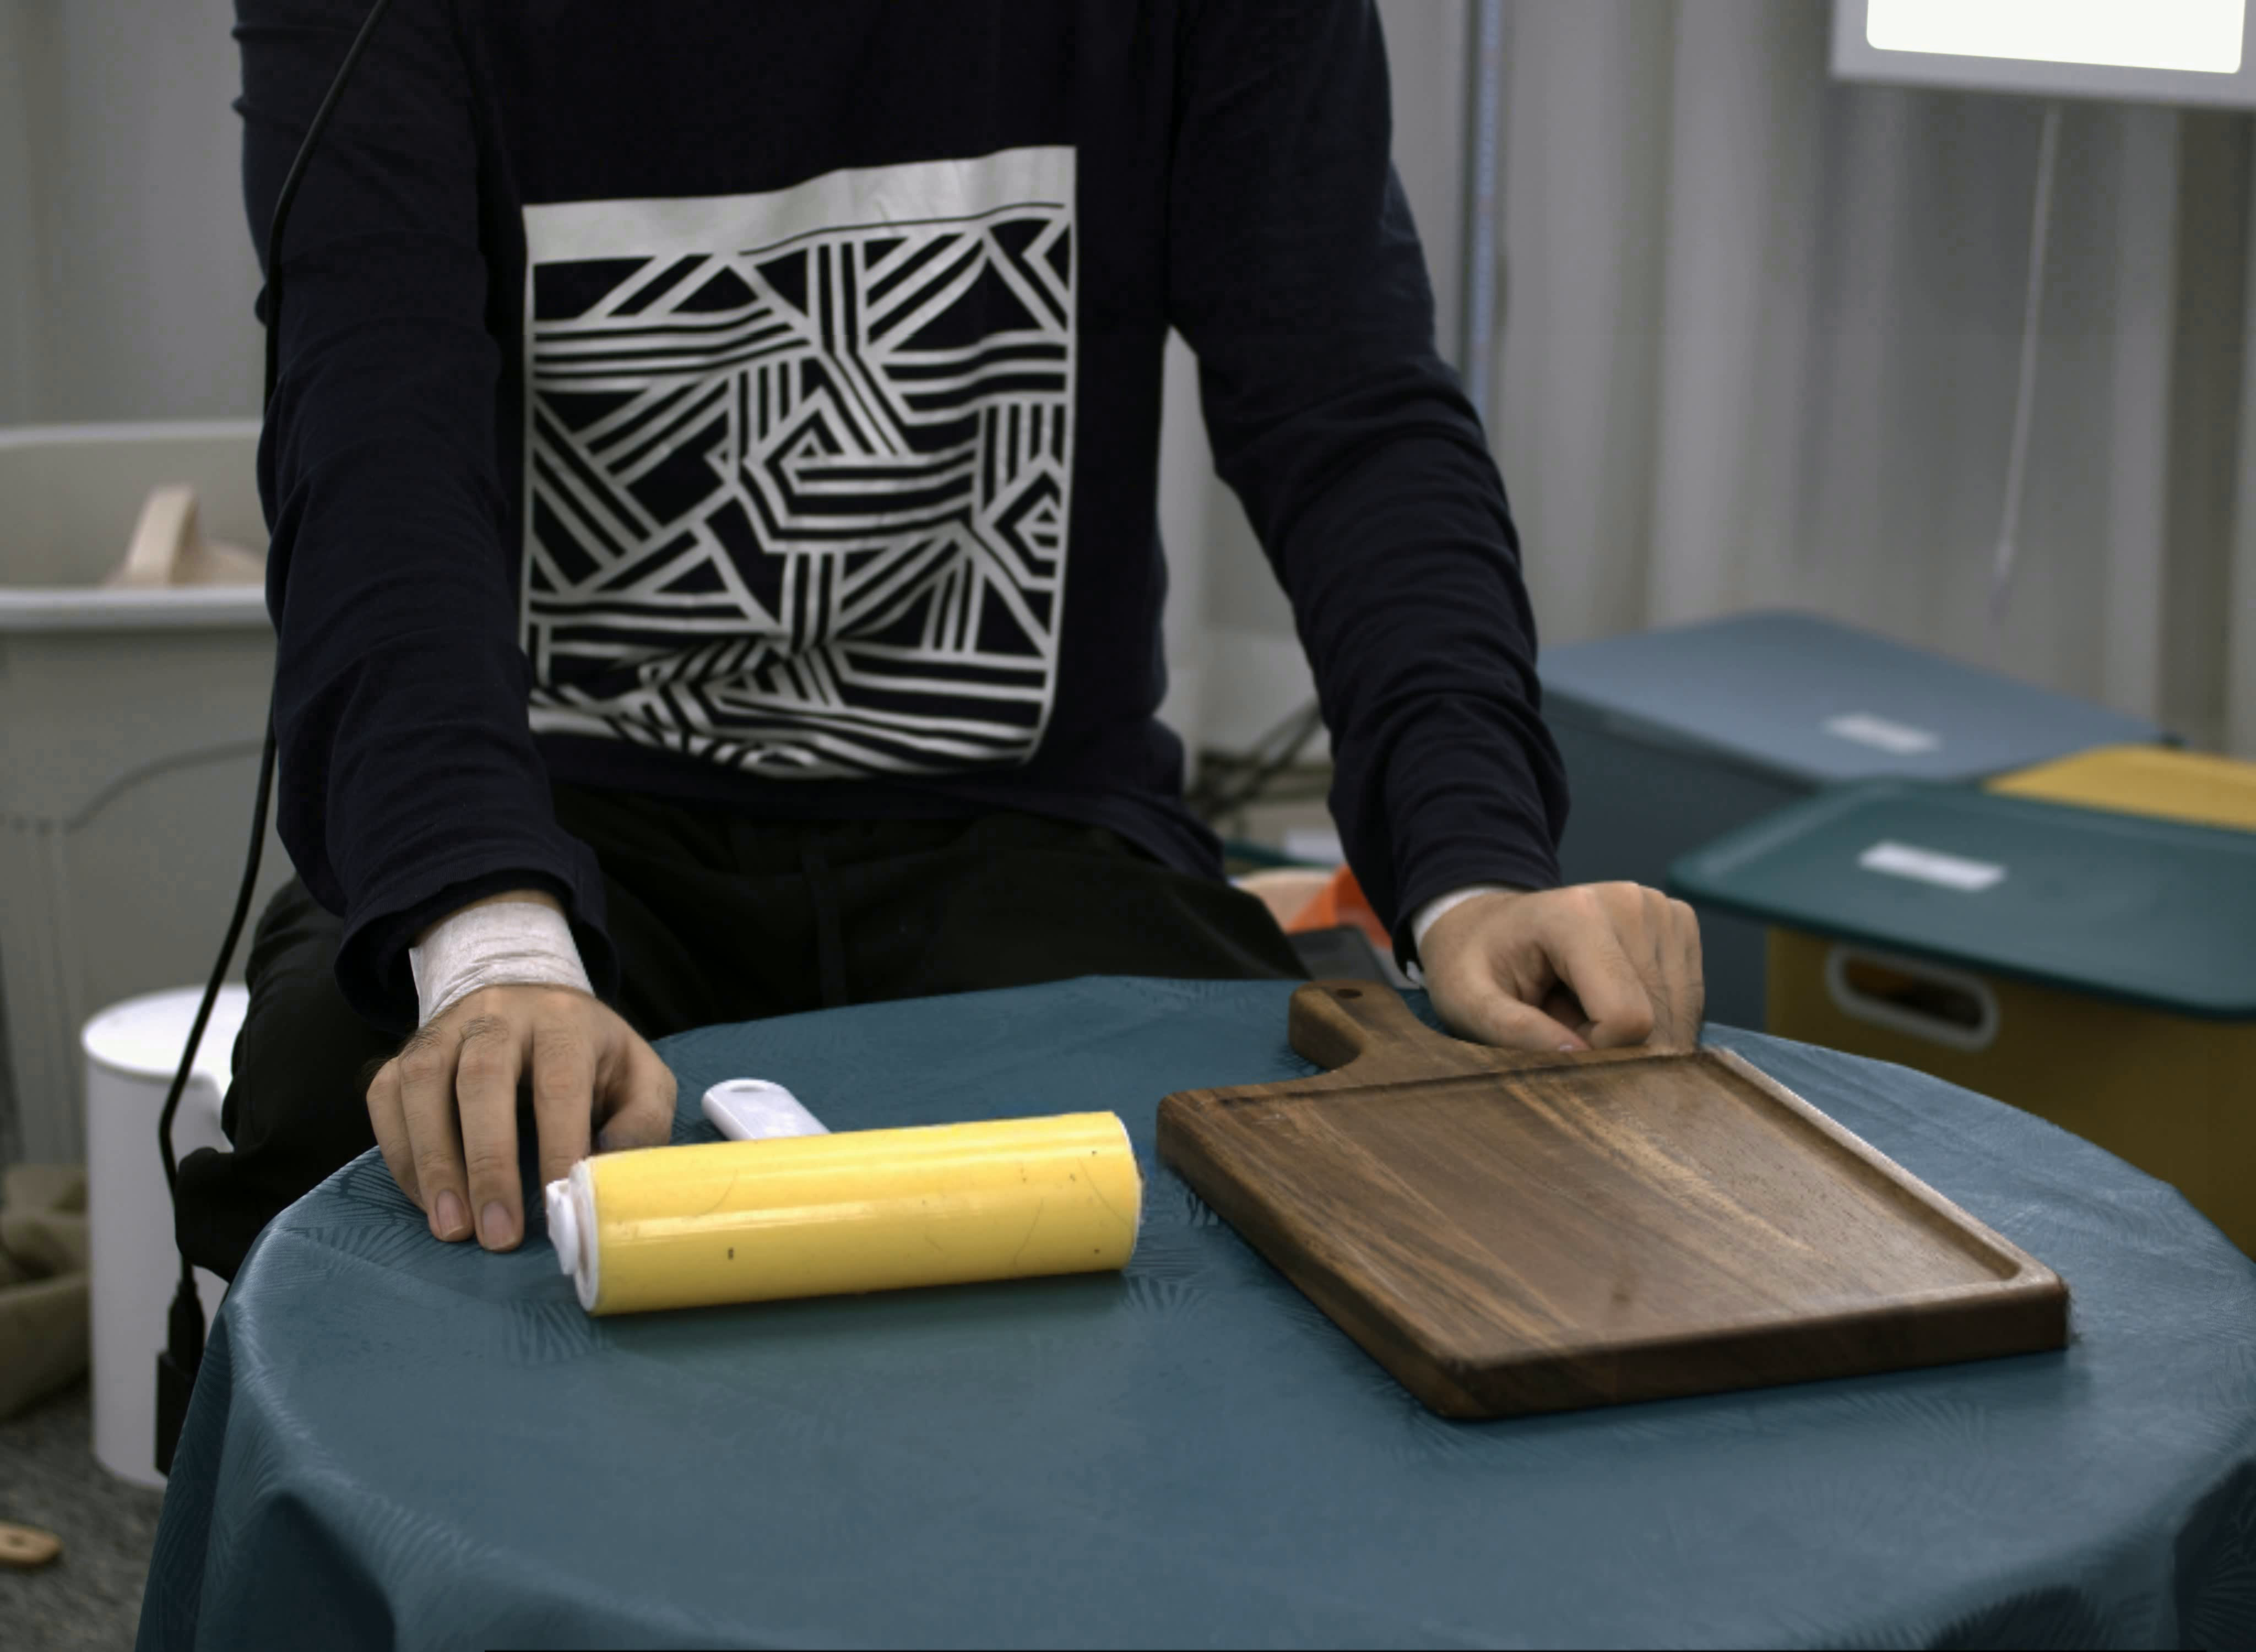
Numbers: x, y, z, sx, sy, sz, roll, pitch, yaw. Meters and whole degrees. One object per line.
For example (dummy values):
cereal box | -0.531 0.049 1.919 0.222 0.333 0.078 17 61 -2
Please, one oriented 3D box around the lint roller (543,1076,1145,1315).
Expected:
lint roller | -0.101 0.094 1.596 0.174 0.052 0.190 -3 19 -17

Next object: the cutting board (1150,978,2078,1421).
cutting board | 0.123 0.104 1.621 0.201 0.023 0.348 -5 16 -19
